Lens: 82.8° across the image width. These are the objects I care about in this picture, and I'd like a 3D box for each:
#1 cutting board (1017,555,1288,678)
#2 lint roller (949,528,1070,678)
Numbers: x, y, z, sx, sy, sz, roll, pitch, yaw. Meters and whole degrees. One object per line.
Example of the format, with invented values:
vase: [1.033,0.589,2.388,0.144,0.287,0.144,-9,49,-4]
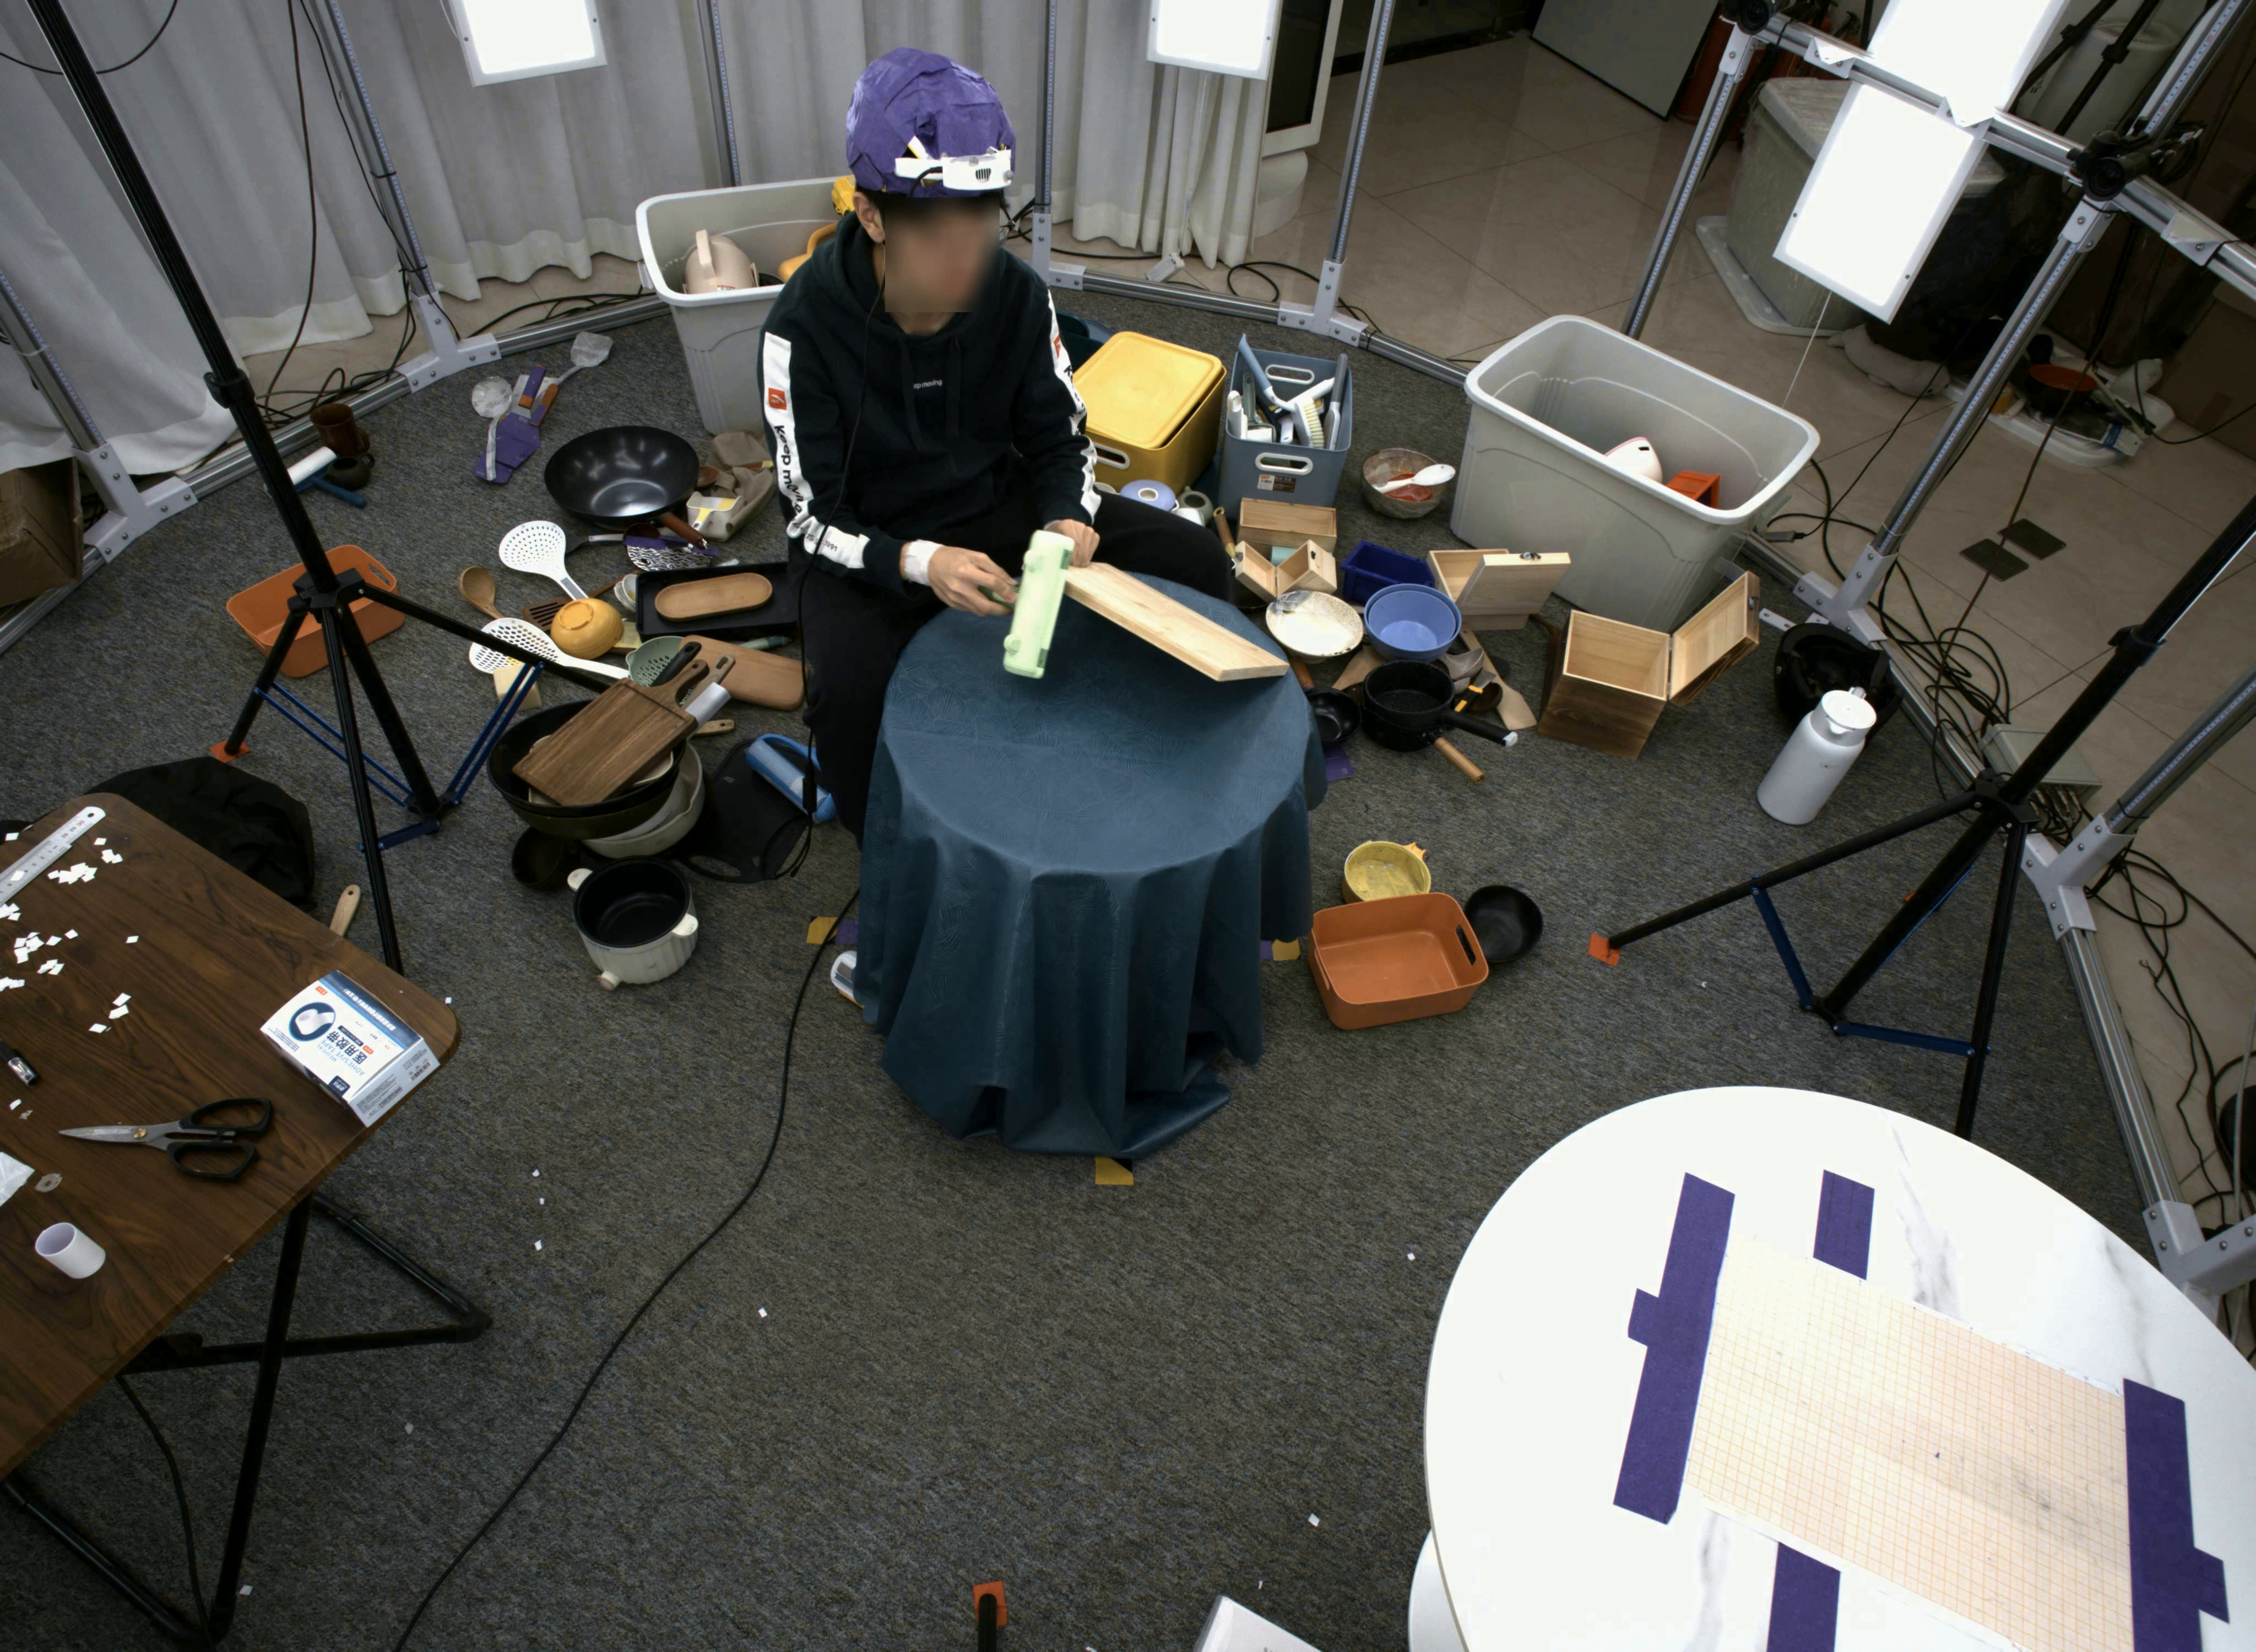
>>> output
cutting board: [0.039,-0.299,1.836,0.352,0.023,0.251,32,21,21]
lint roller: [-0.180,-0.319,1.765,0.184,0.197,0.082,17,10,19]
